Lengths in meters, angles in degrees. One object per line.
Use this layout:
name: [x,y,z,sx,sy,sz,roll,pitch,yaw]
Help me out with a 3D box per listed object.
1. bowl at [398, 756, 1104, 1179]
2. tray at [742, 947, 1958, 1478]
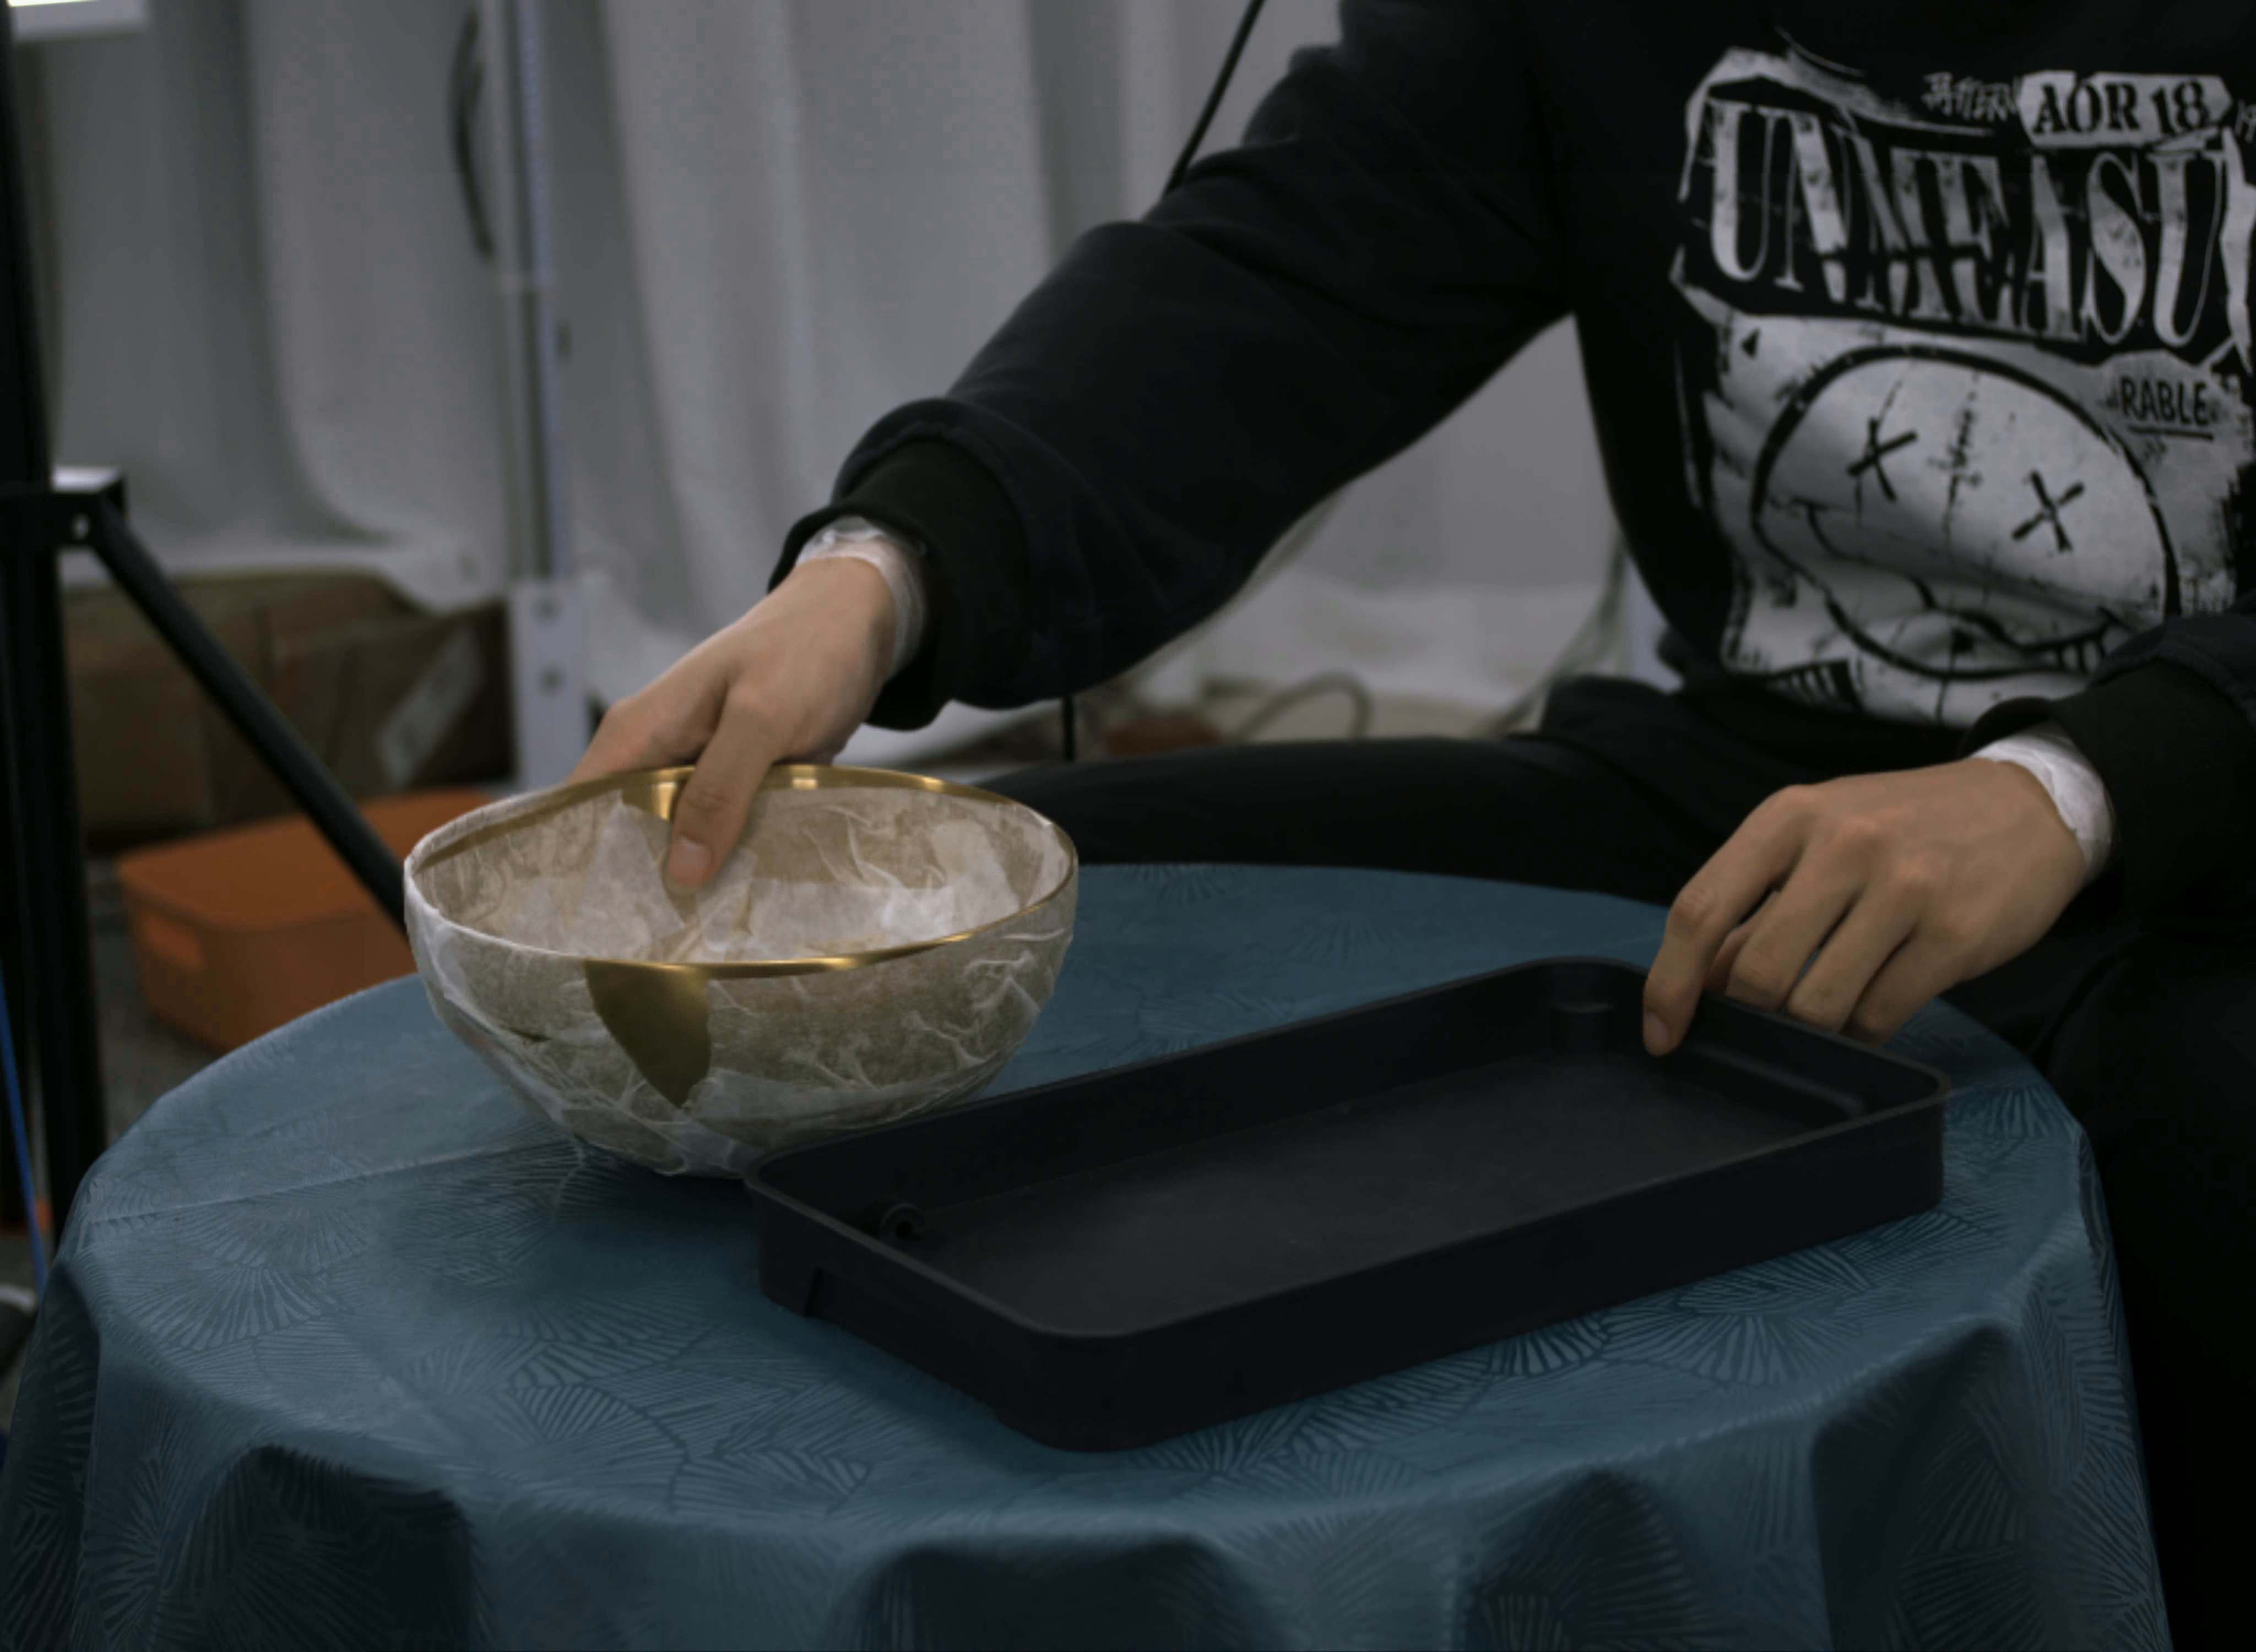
bowl: [-0.111,0.051,1.603,0.213,0.094,0.216,-2,16,-1]
tray: [0.065,0.104,1.506,0.311,0.037,0.188,-14,20,-29]
